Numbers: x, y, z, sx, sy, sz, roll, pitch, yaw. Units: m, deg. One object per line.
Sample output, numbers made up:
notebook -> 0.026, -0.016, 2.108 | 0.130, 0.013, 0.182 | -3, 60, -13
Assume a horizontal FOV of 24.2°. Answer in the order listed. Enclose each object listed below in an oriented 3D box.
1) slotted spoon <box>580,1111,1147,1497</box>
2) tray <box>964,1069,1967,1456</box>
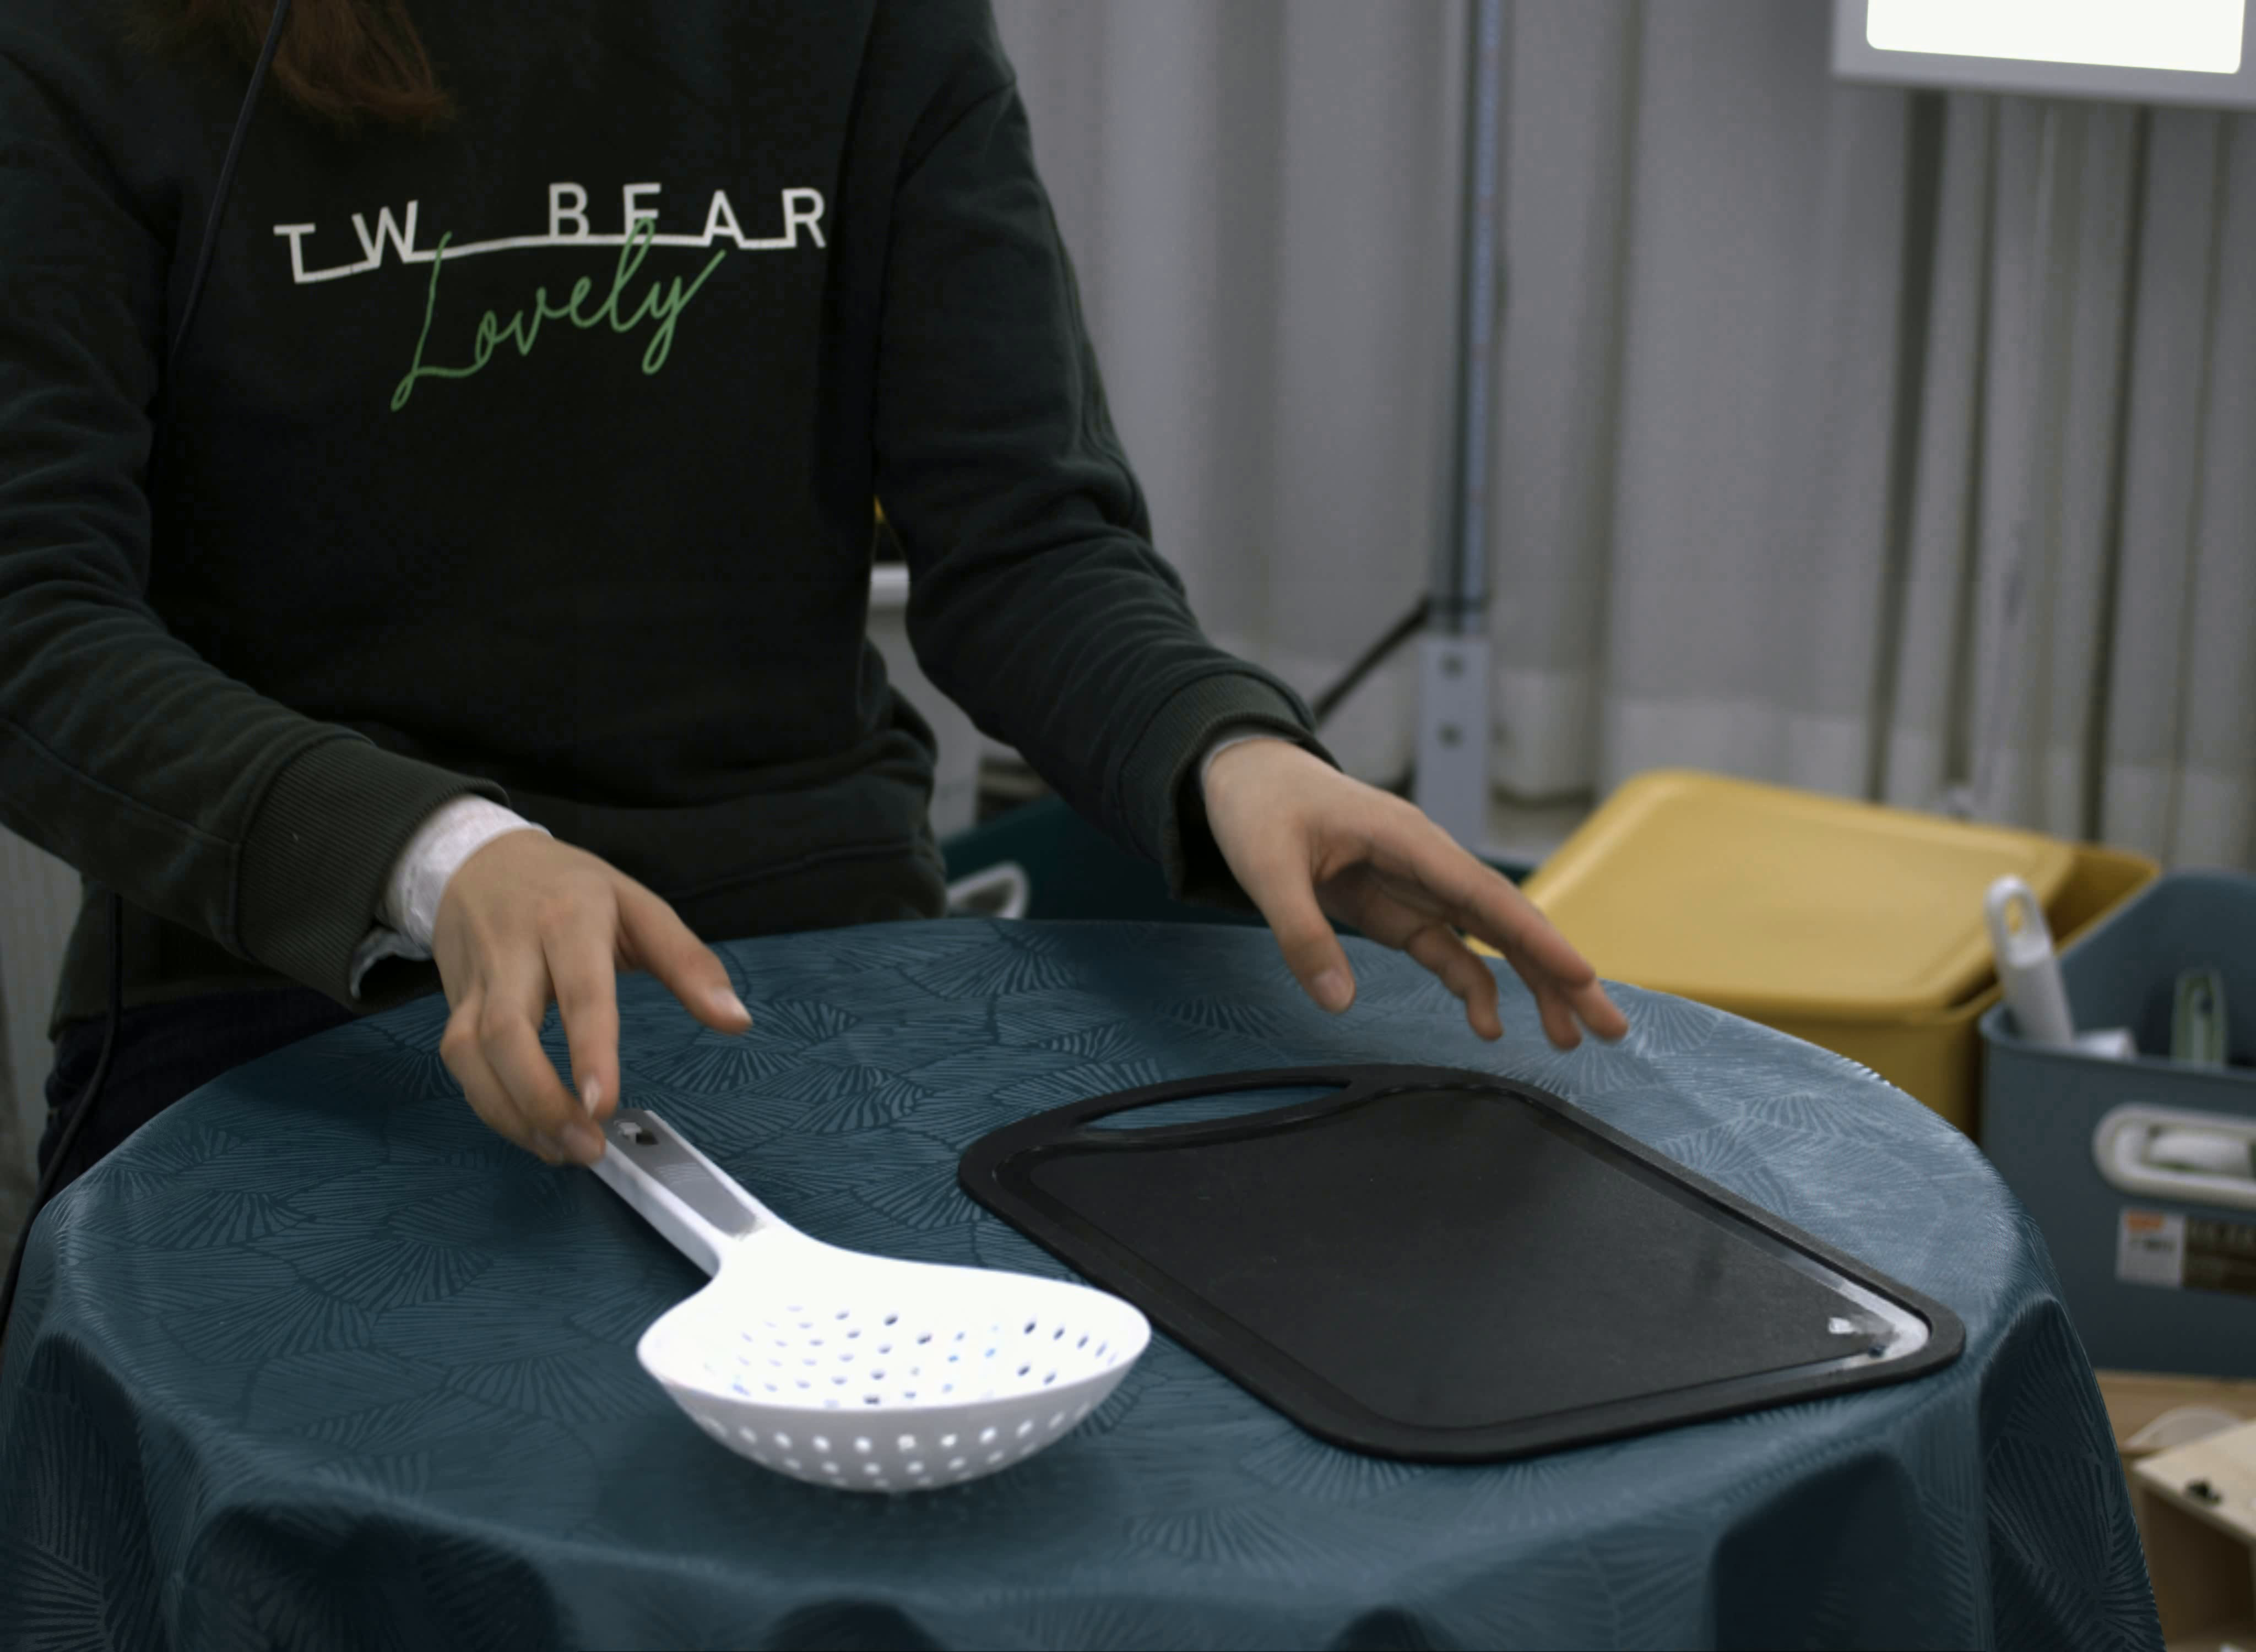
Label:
slotted spoon -> -0.100, 0.126, 1.493 | 0.136, 0.046, 0.346 | -4, 16, -20
tray -> 0.090, 0.123, 1.582 | 0.212, 0.010, 0.321 | -7, 17, -26
